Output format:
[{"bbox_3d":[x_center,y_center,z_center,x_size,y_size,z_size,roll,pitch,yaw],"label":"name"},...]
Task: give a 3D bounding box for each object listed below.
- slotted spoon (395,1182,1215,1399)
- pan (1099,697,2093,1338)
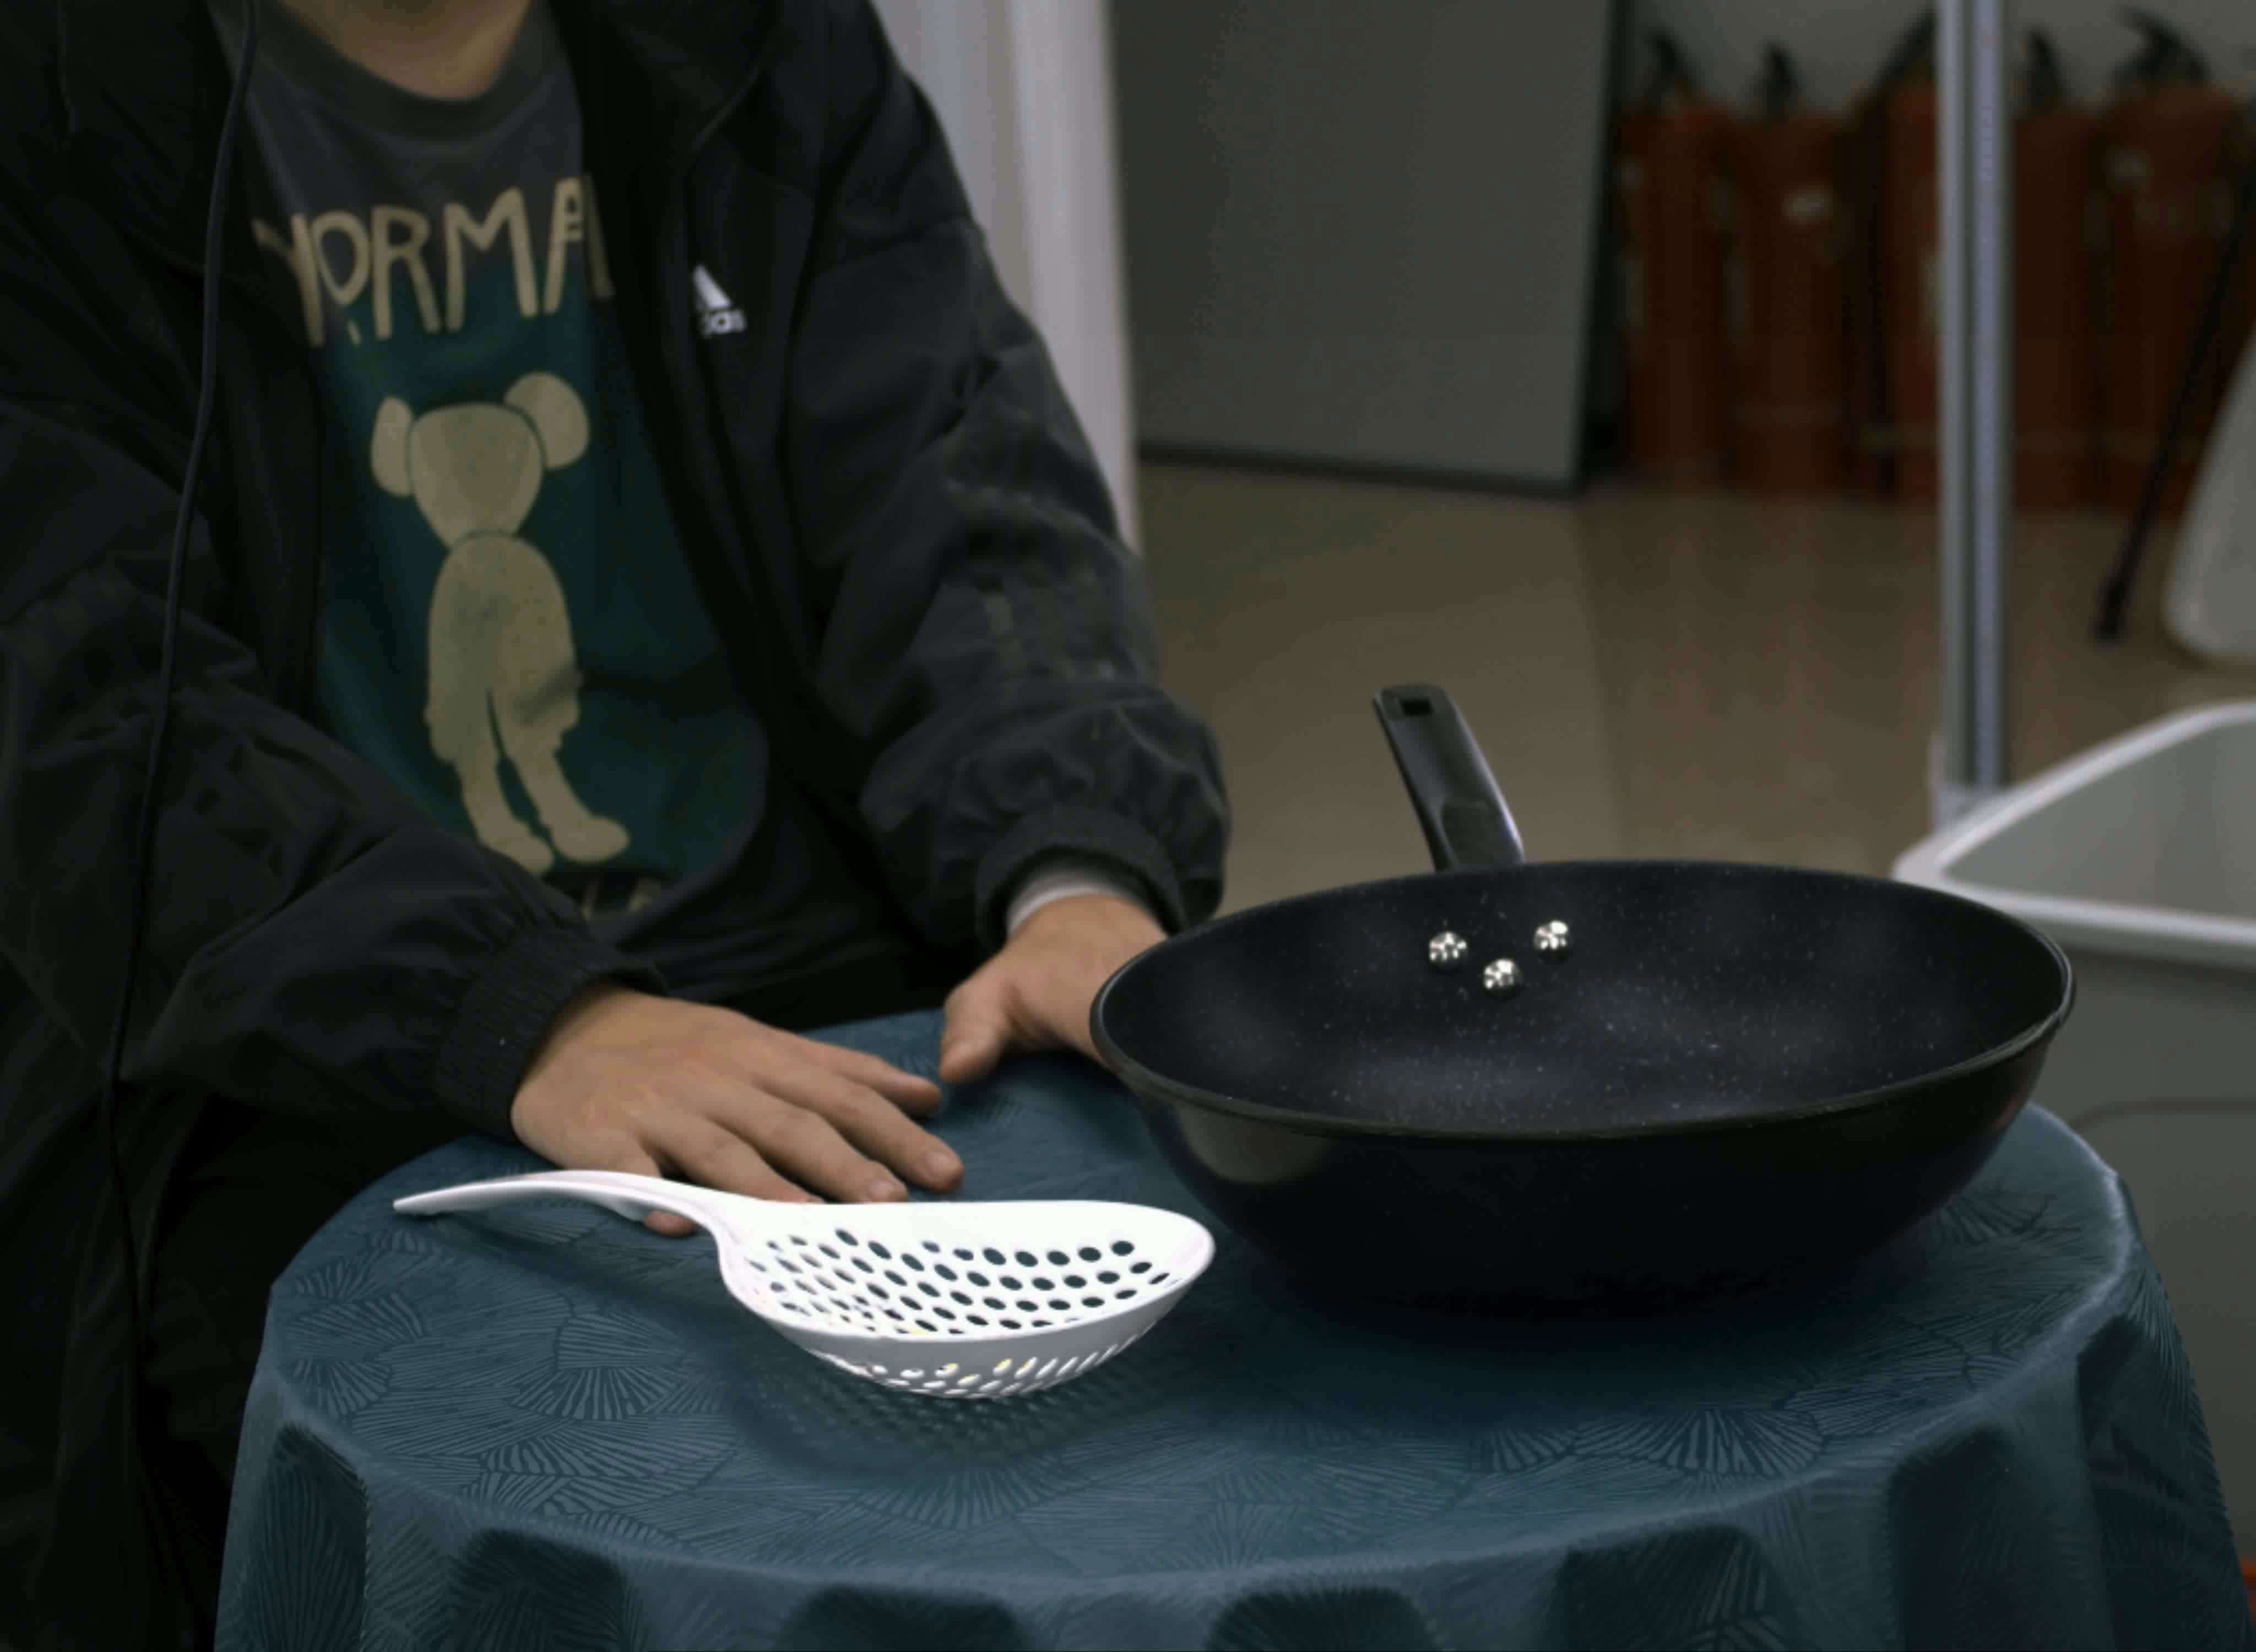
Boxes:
[{"bbox_3d":[-0.116,0.133,1.675,0.134,0.051,0.351,-19,19,-40],"label":"slotted spoon"},{"bbox_3d":[0.135,0.062,1.754,0.305,0.113,0.479,-4,14,-6],"label":"pan"}]
